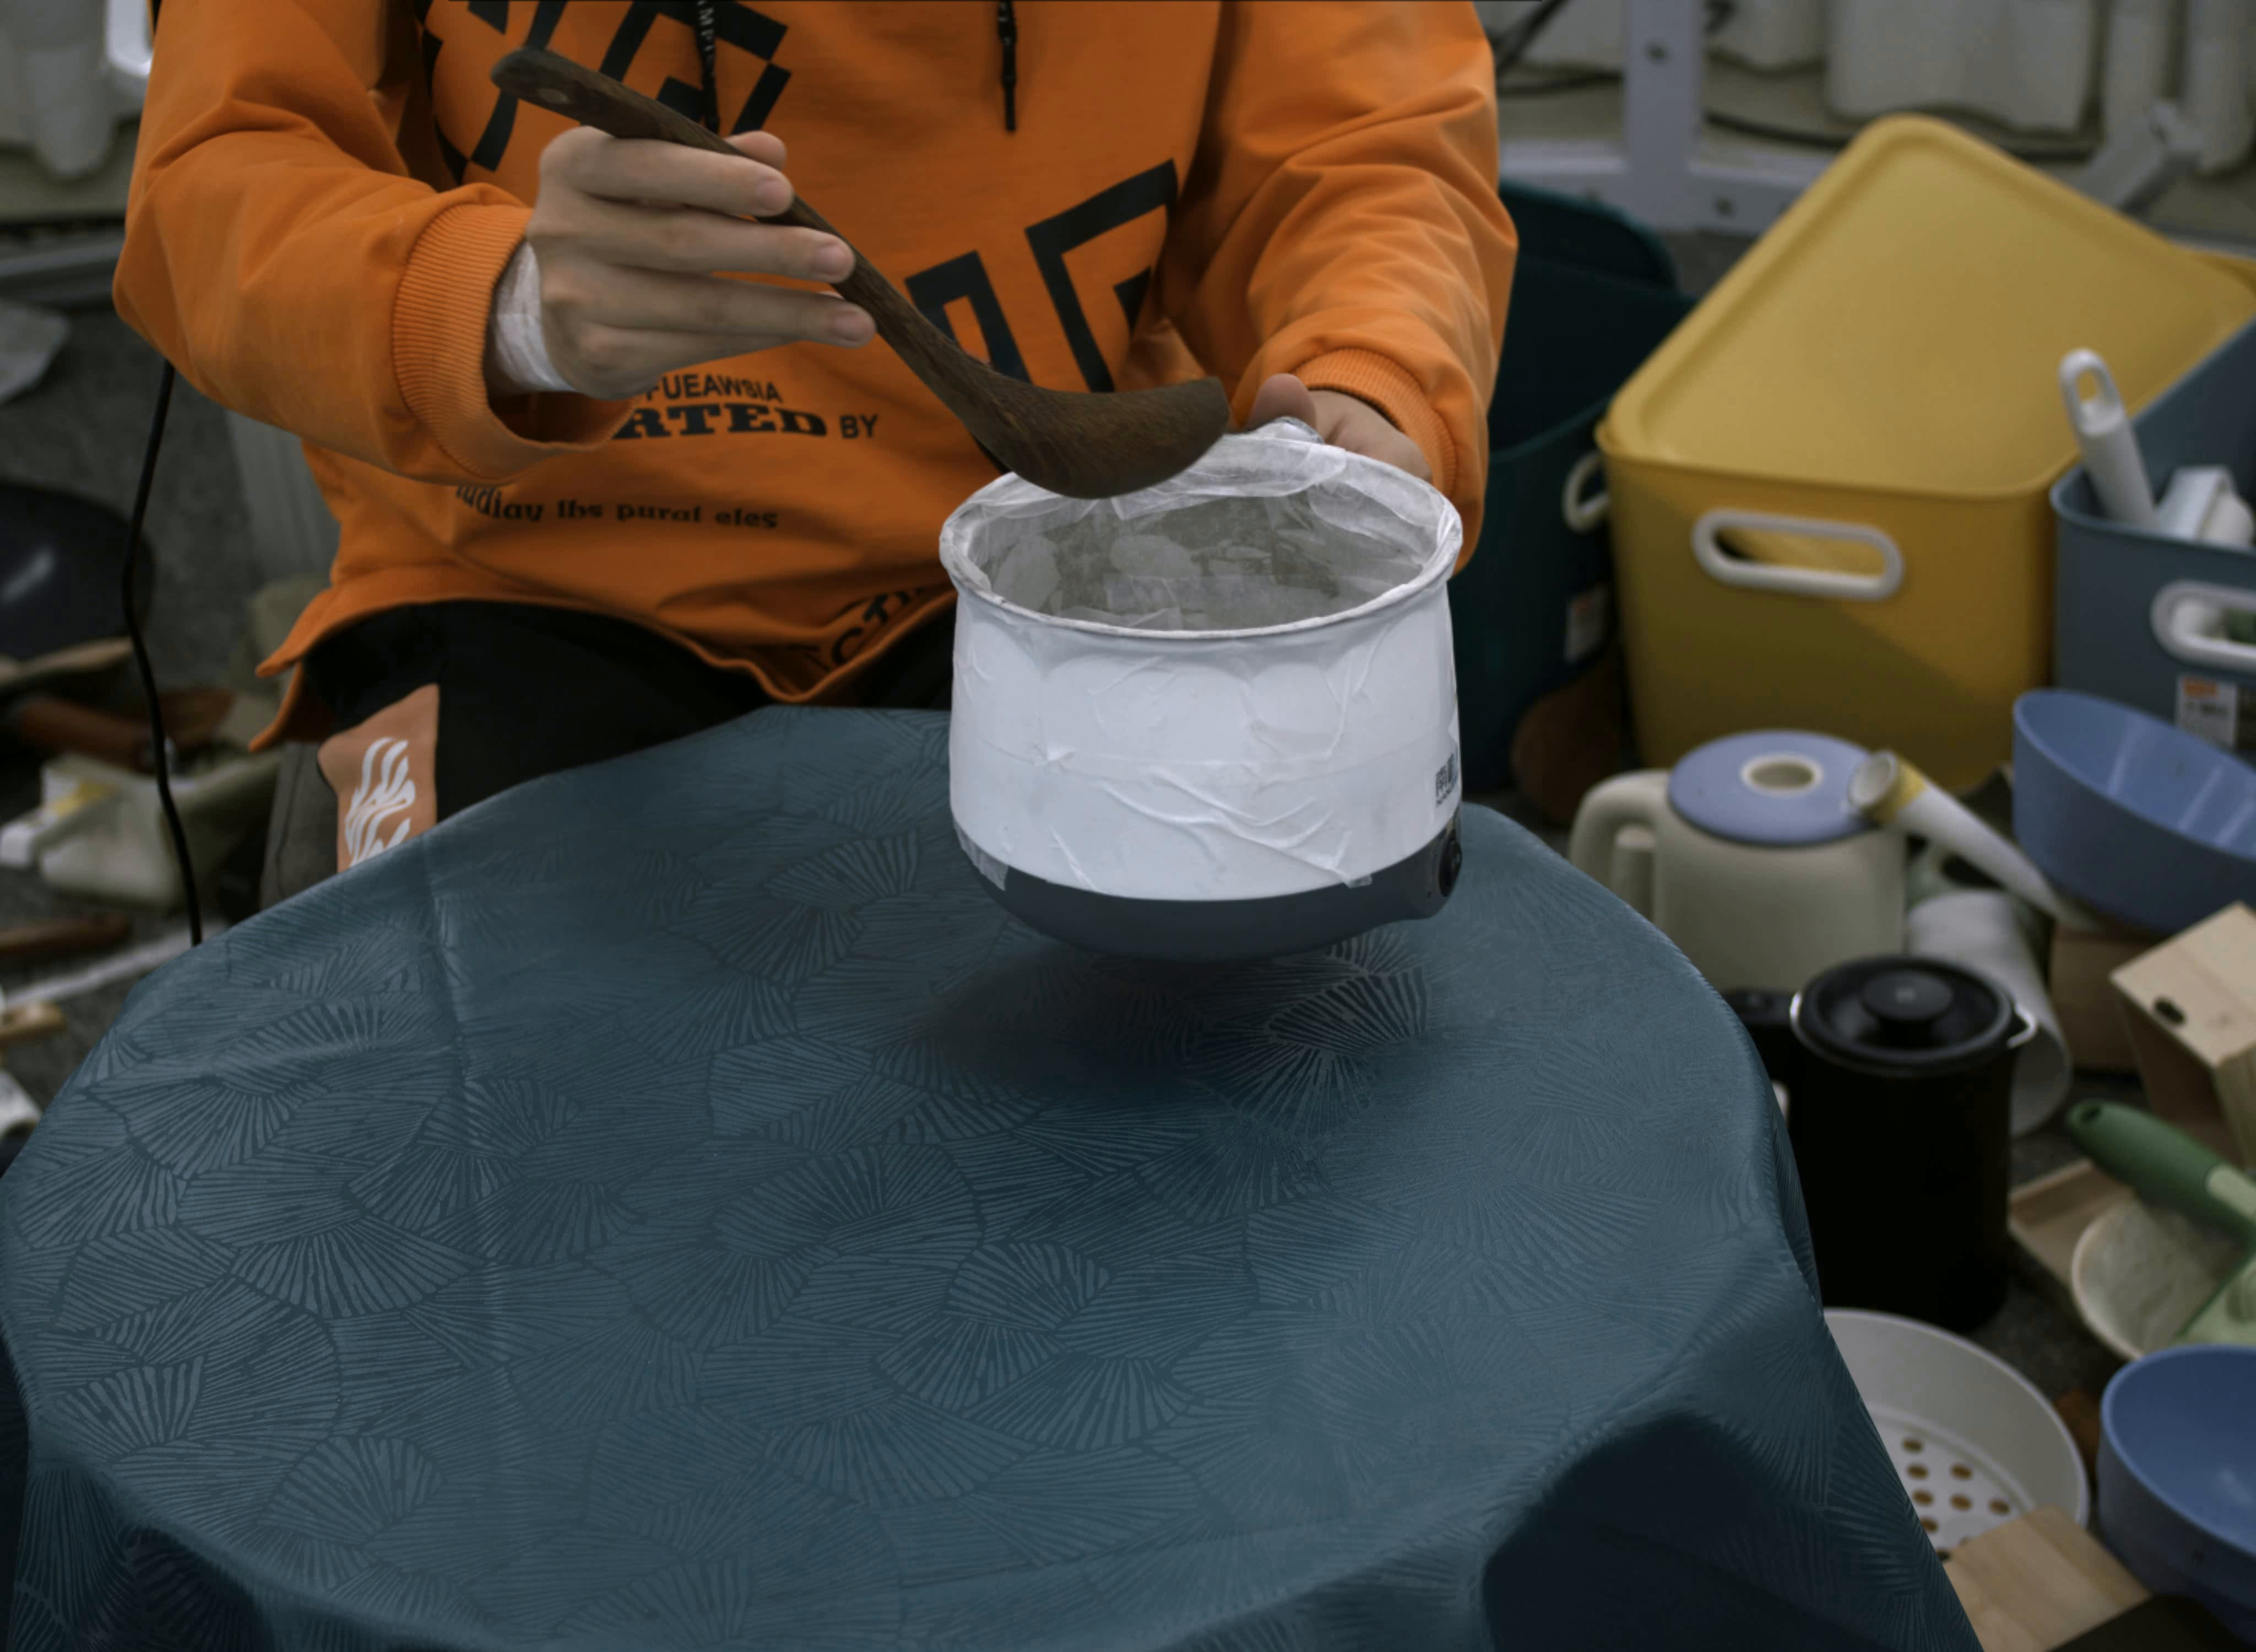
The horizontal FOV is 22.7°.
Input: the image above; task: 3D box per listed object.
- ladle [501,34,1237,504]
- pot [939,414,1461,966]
[{"bbox_3d":[-0.083,-0.197,1.881,0.075,0.273,0.073,-34,25,50],"label":"ladle"},{"bbox_3d":[0.033,-0.054,1.948,0.177,0.135,0.237,7,26,15],"label":"pot"}]
